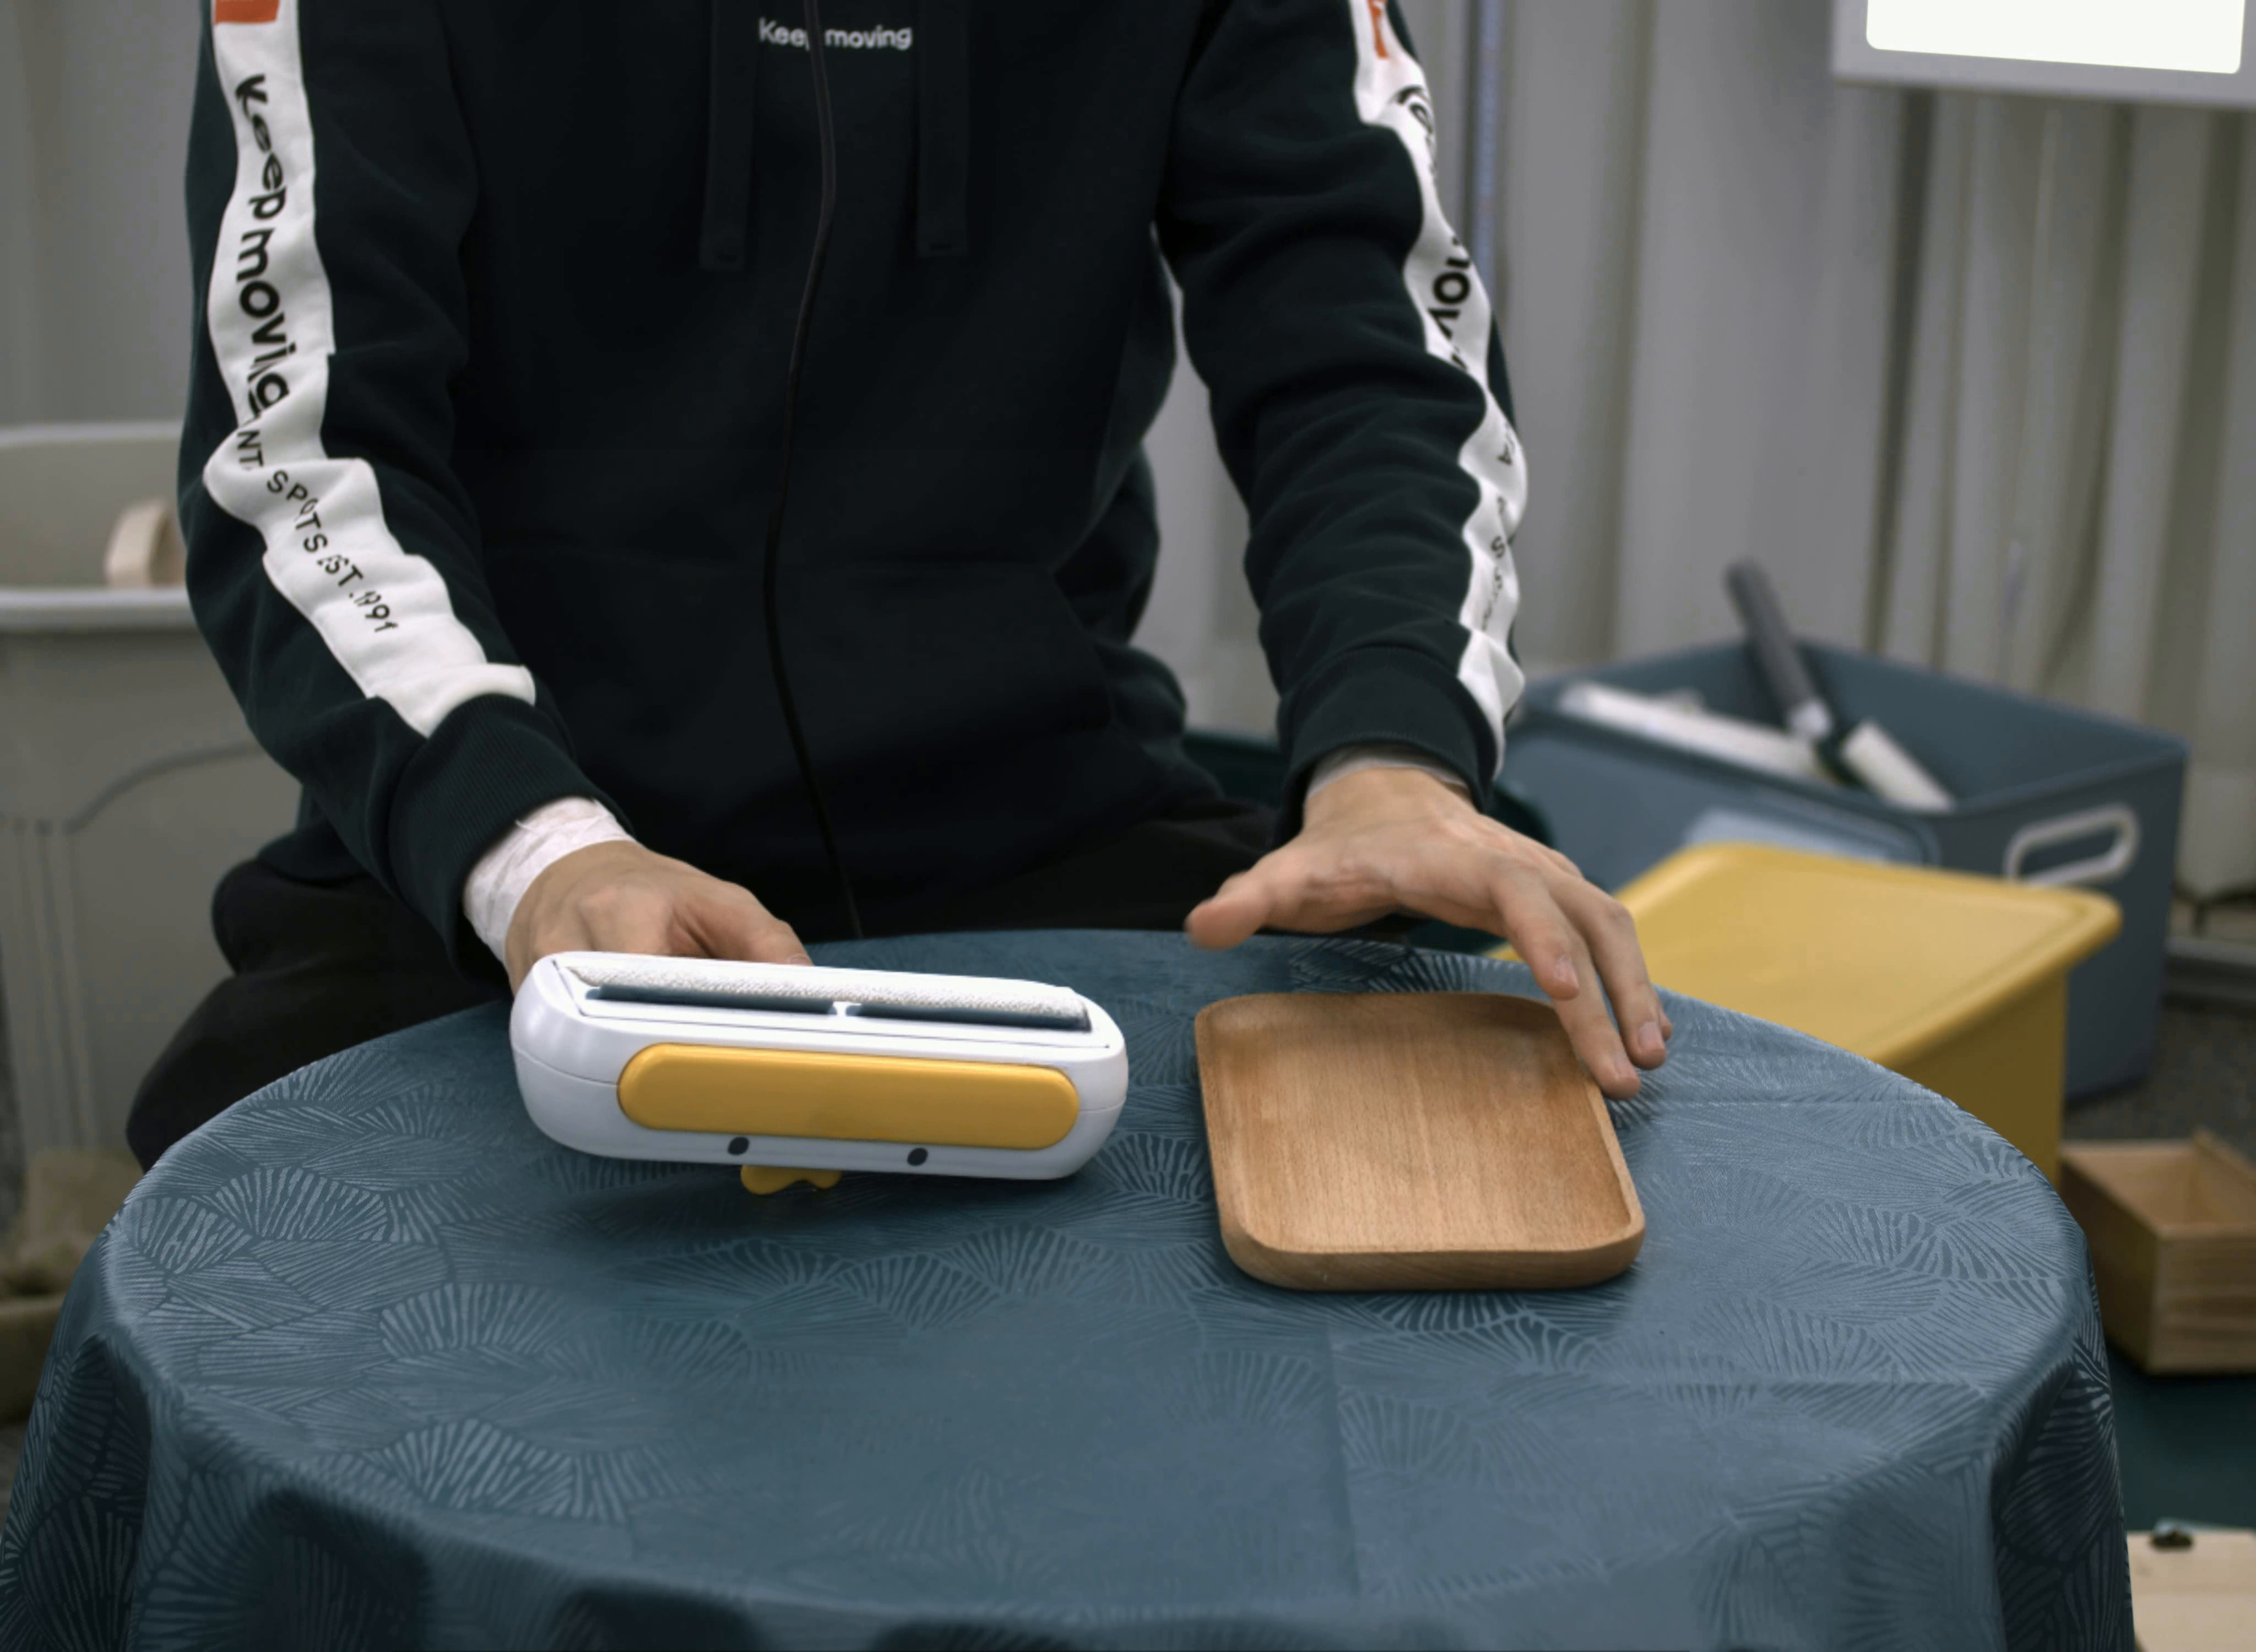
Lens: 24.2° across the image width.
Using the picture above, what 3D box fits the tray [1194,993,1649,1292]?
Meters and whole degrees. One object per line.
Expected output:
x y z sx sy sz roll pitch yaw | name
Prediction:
0.088 0.096 1.650 0.130 0.023 0.249 2 15 -2 | tray

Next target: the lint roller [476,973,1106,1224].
-0.117 0.085 1.657 0.193 0.074 0.191 3 0 -16 | lint roller
